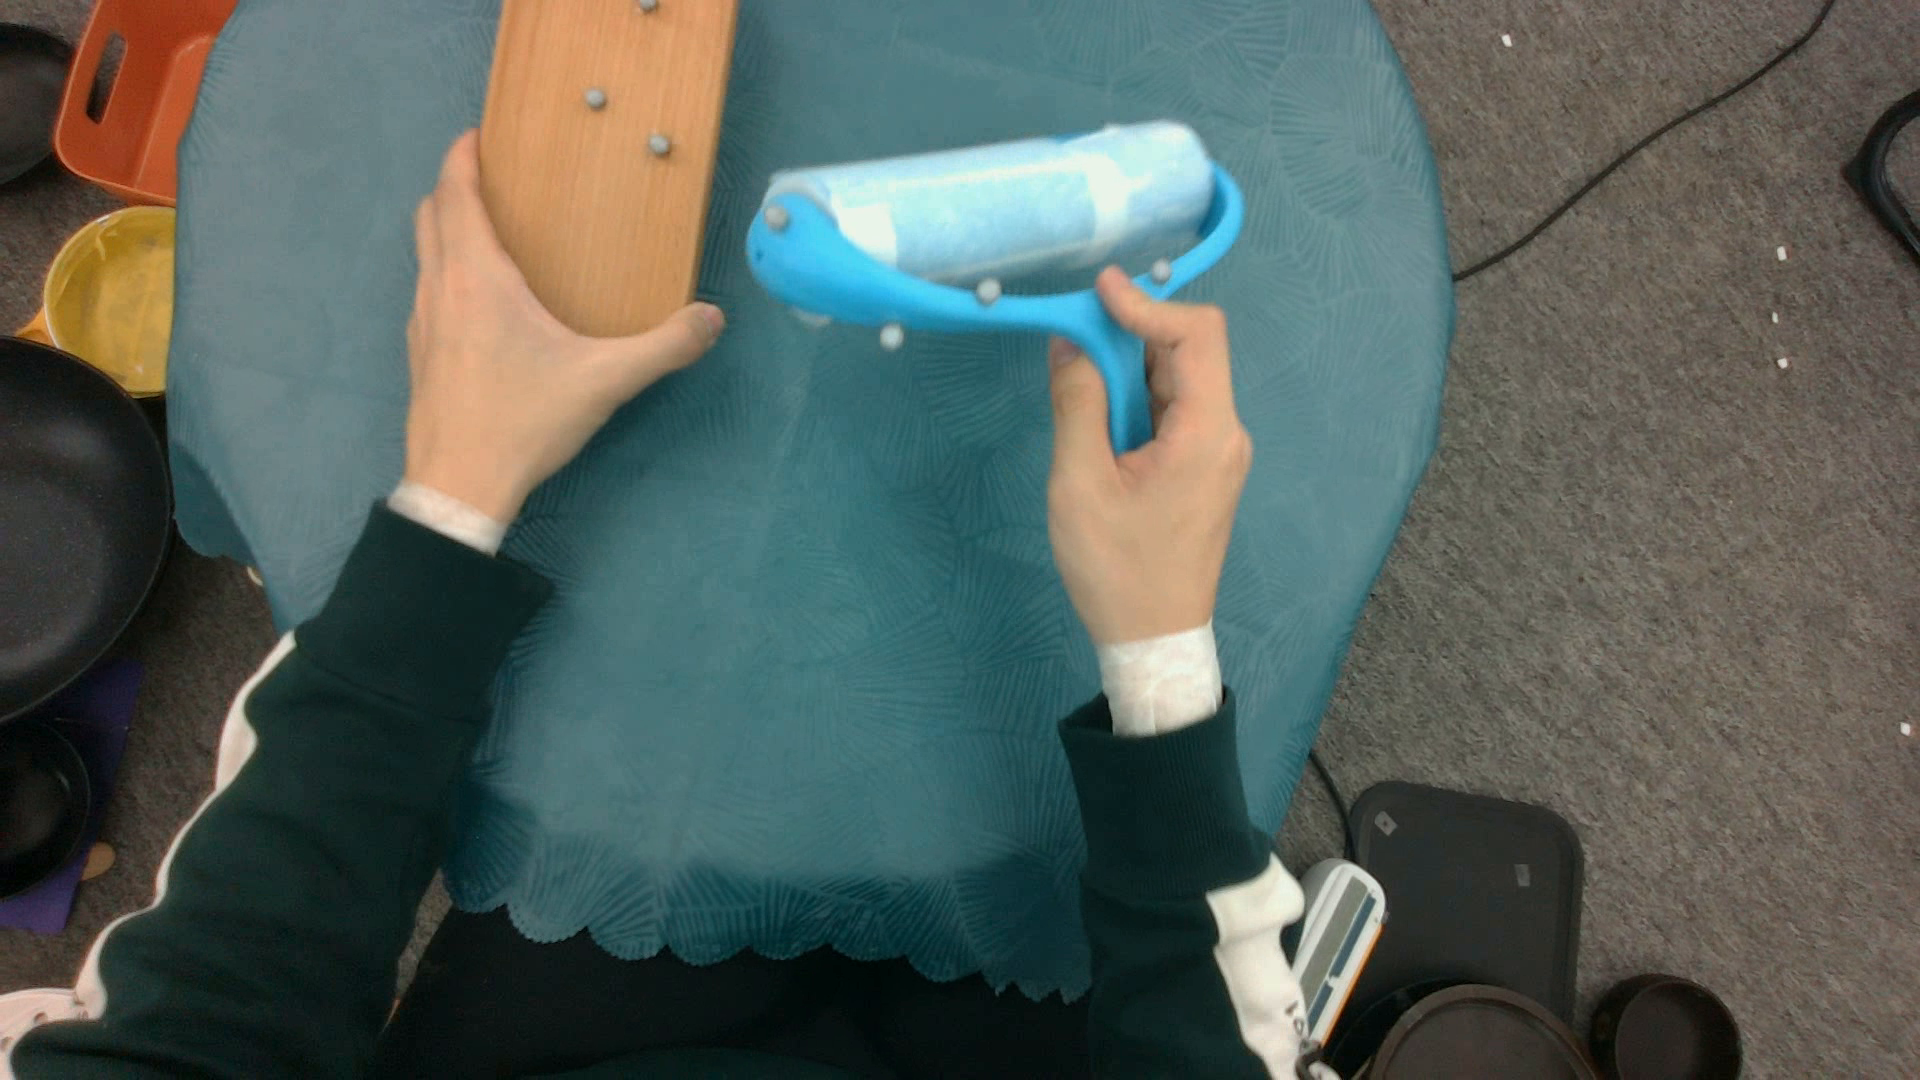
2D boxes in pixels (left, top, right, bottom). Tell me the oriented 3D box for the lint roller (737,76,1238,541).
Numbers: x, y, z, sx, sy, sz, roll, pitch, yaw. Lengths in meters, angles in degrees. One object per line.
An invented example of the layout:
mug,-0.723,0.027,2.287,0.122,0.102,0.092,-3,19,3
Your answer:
lint roller,0.040,-0.091,0.541,0.230,0.067,0.180,-23,87,-35

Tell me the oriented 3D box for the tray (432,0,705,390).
tray,-0.169,-0.178,0.602,0.102,0.020,0.231,5,84,-1
